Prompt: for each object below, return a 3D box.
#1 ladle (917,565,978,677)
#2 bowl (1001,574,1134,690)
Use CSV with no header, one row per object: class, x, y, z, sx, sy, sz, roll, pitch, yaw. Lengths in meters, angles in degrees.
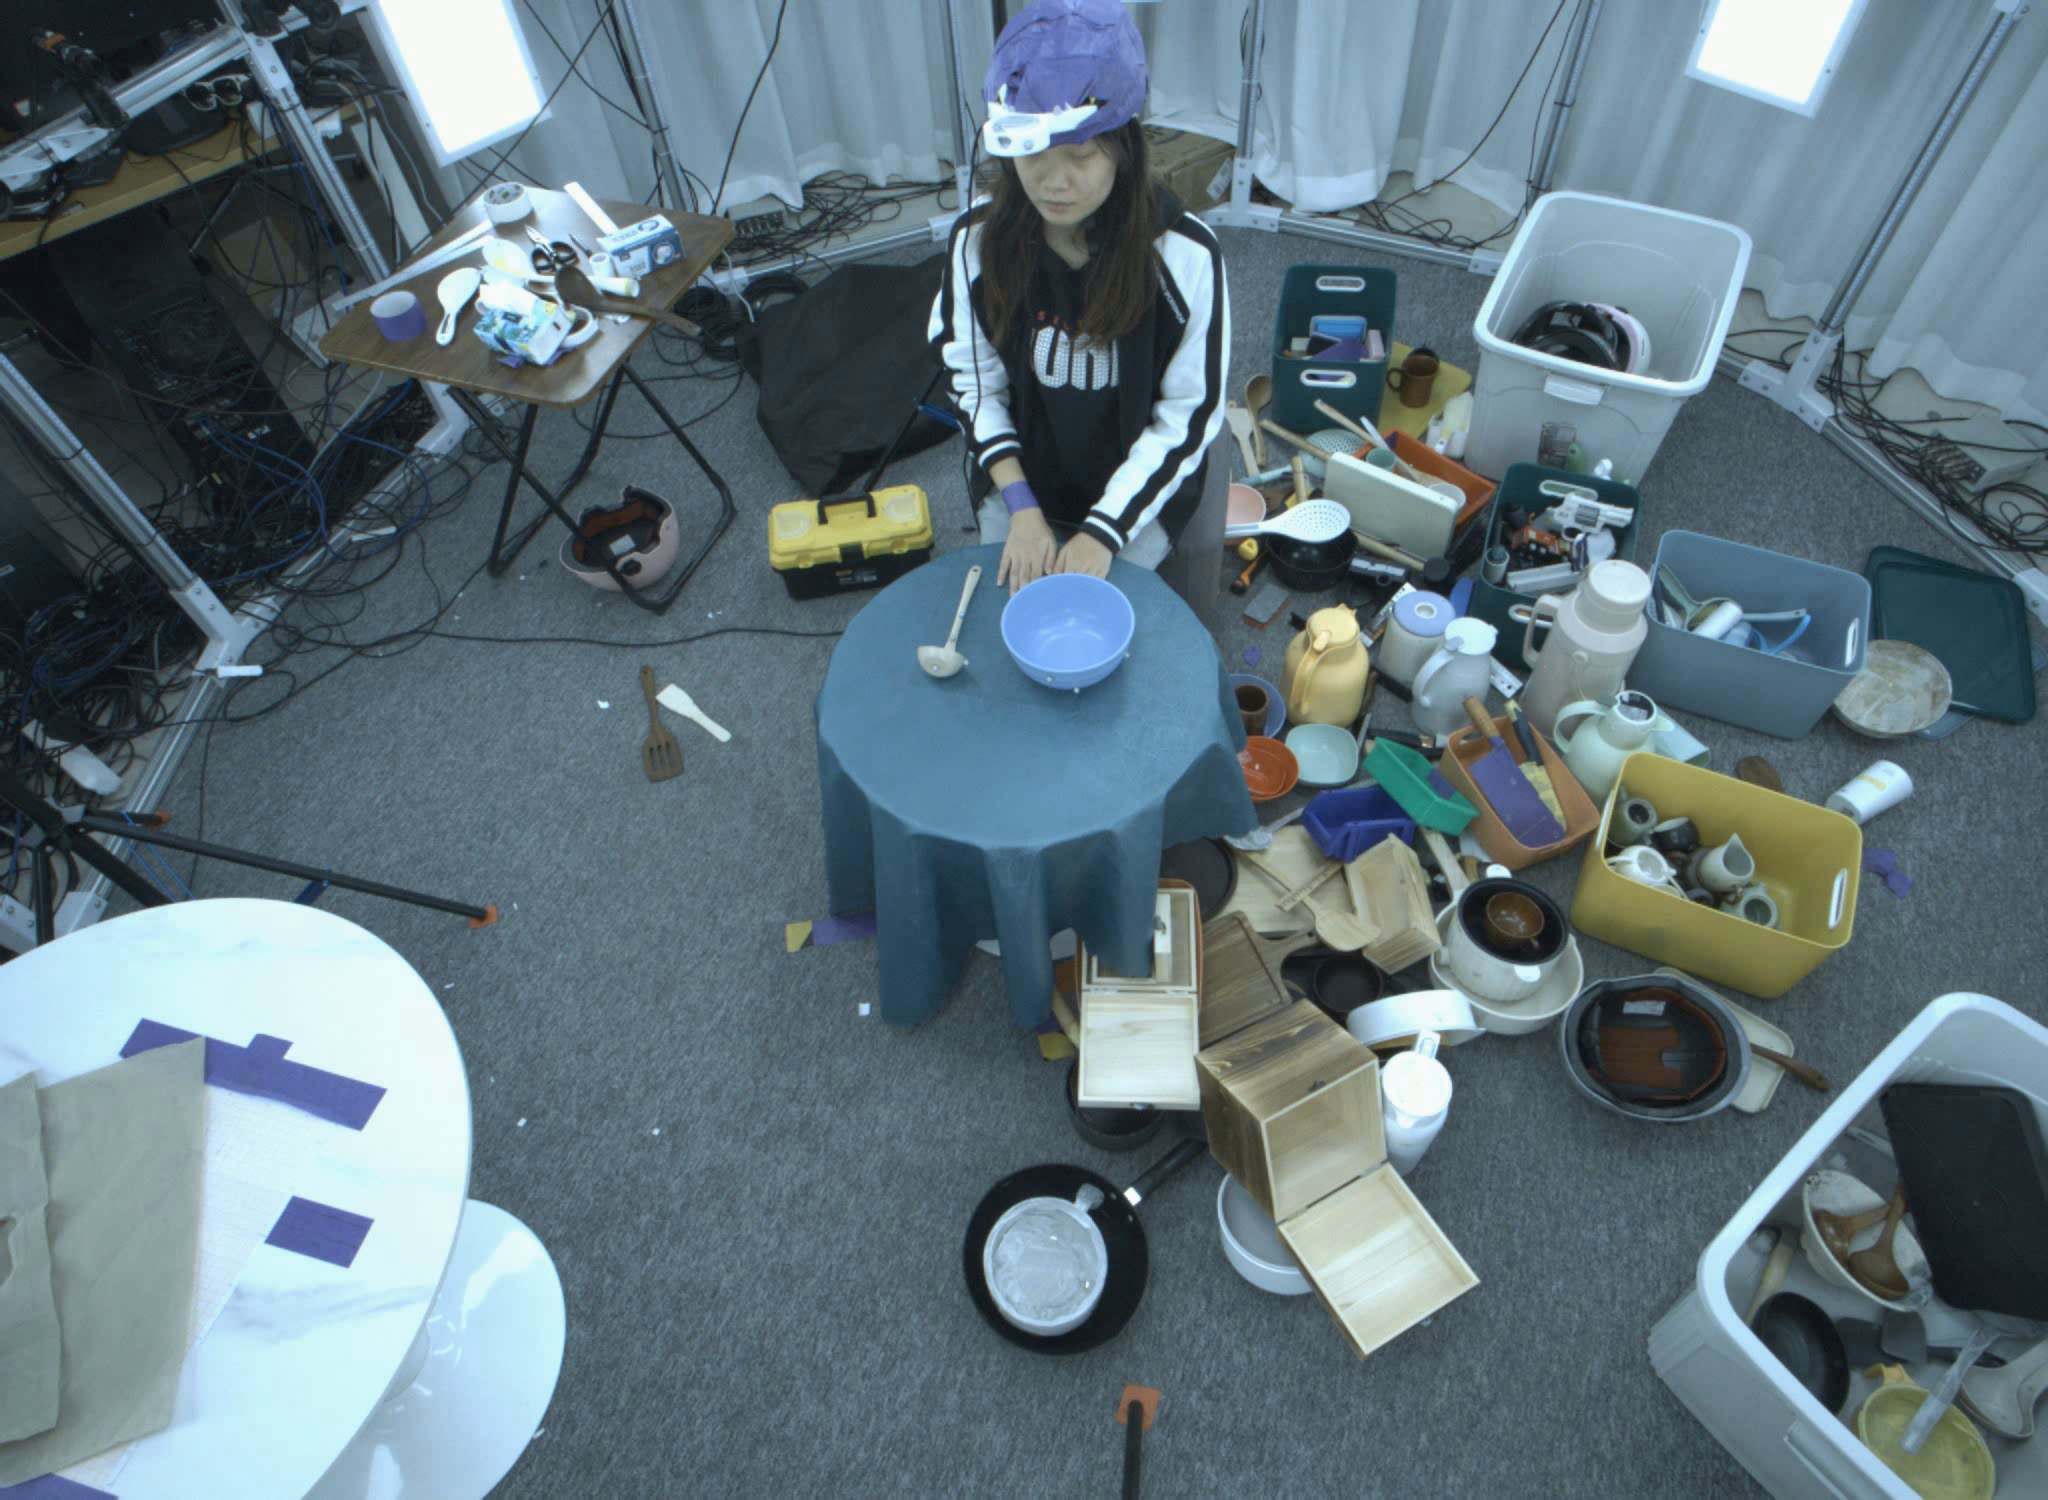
ladle,-0.107,-0.222,1.903,0.072,0.073,0.253,8,55,7
bowl,0.067,-0.161,1.845,0.196,0.096,0.194,-2,54,3
